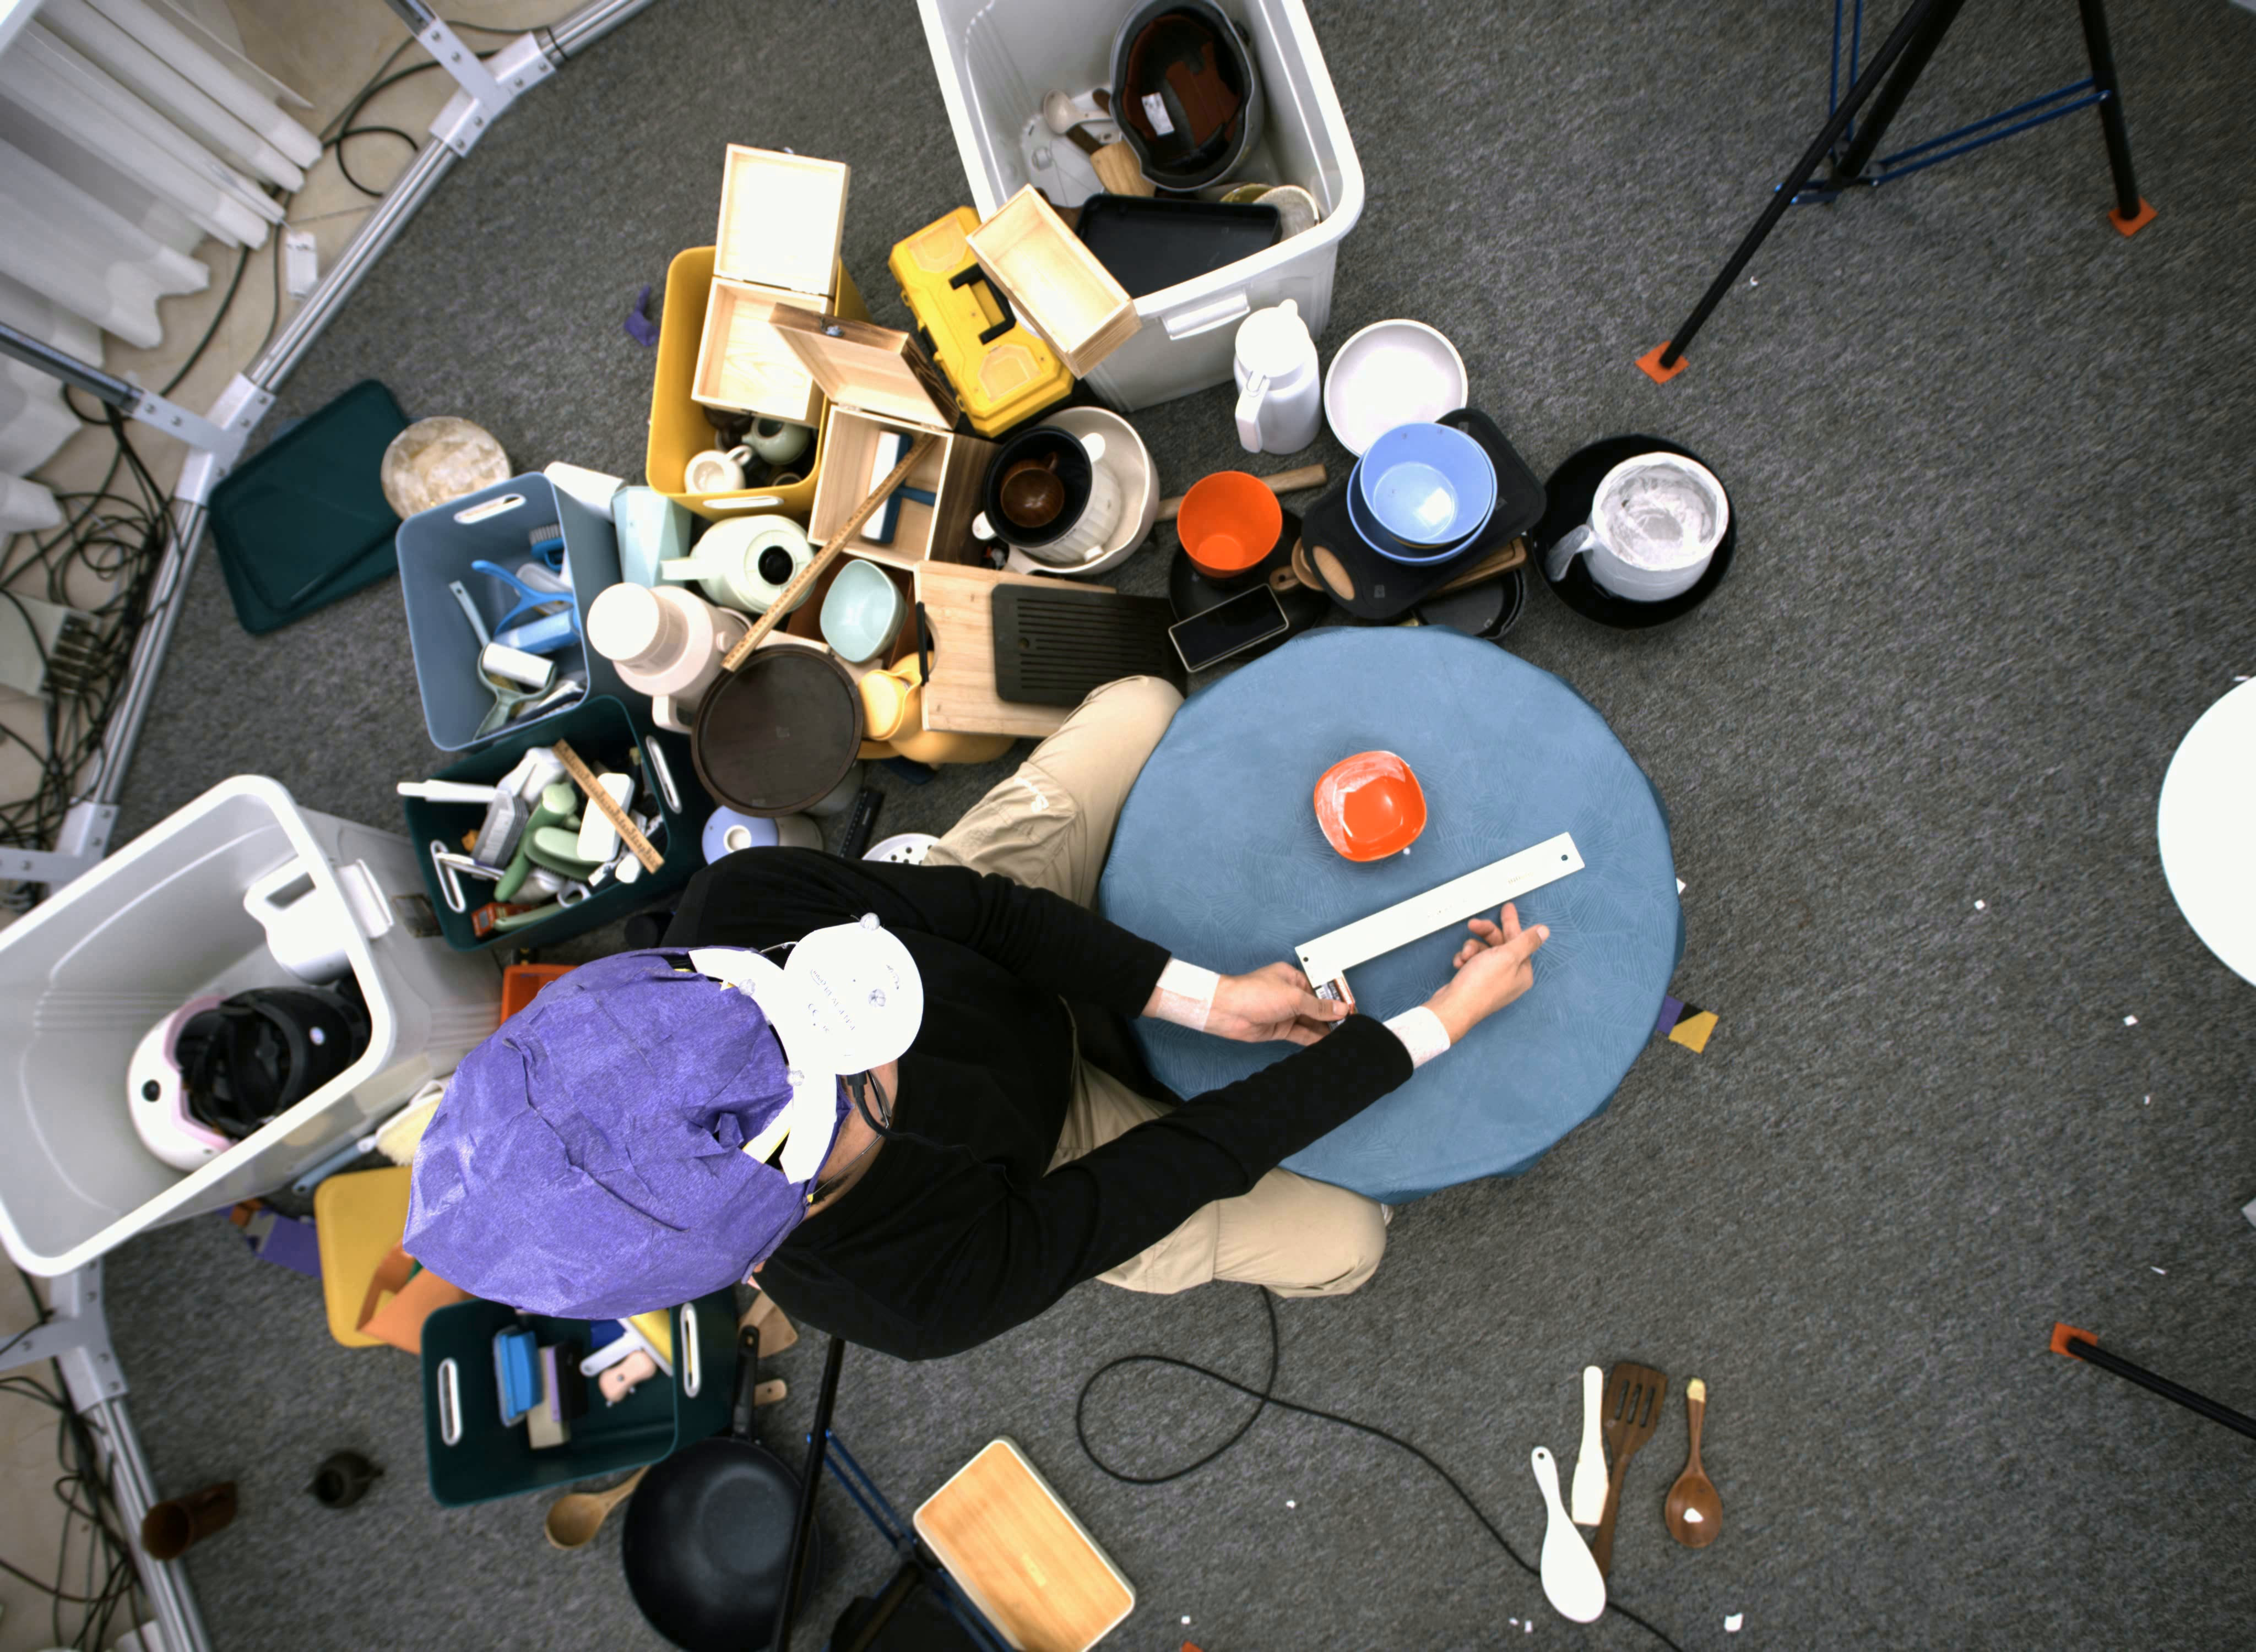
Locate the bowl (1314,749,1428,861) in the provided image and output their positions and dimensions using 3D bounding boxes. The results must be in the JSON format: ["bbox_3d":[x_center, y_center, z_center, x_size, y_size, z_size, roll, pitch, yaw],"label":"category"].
[{"bbox_3d":[0.253,-0.020,1.440,0.119,0.051,0.118,-1,86,7],"label":"bowl"}]

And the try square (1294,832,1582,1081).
[{"bbox_3d":[0.341,0.132,1.422,0.314,0.016,0.150,-23,77,3],"label":"try square"}]
